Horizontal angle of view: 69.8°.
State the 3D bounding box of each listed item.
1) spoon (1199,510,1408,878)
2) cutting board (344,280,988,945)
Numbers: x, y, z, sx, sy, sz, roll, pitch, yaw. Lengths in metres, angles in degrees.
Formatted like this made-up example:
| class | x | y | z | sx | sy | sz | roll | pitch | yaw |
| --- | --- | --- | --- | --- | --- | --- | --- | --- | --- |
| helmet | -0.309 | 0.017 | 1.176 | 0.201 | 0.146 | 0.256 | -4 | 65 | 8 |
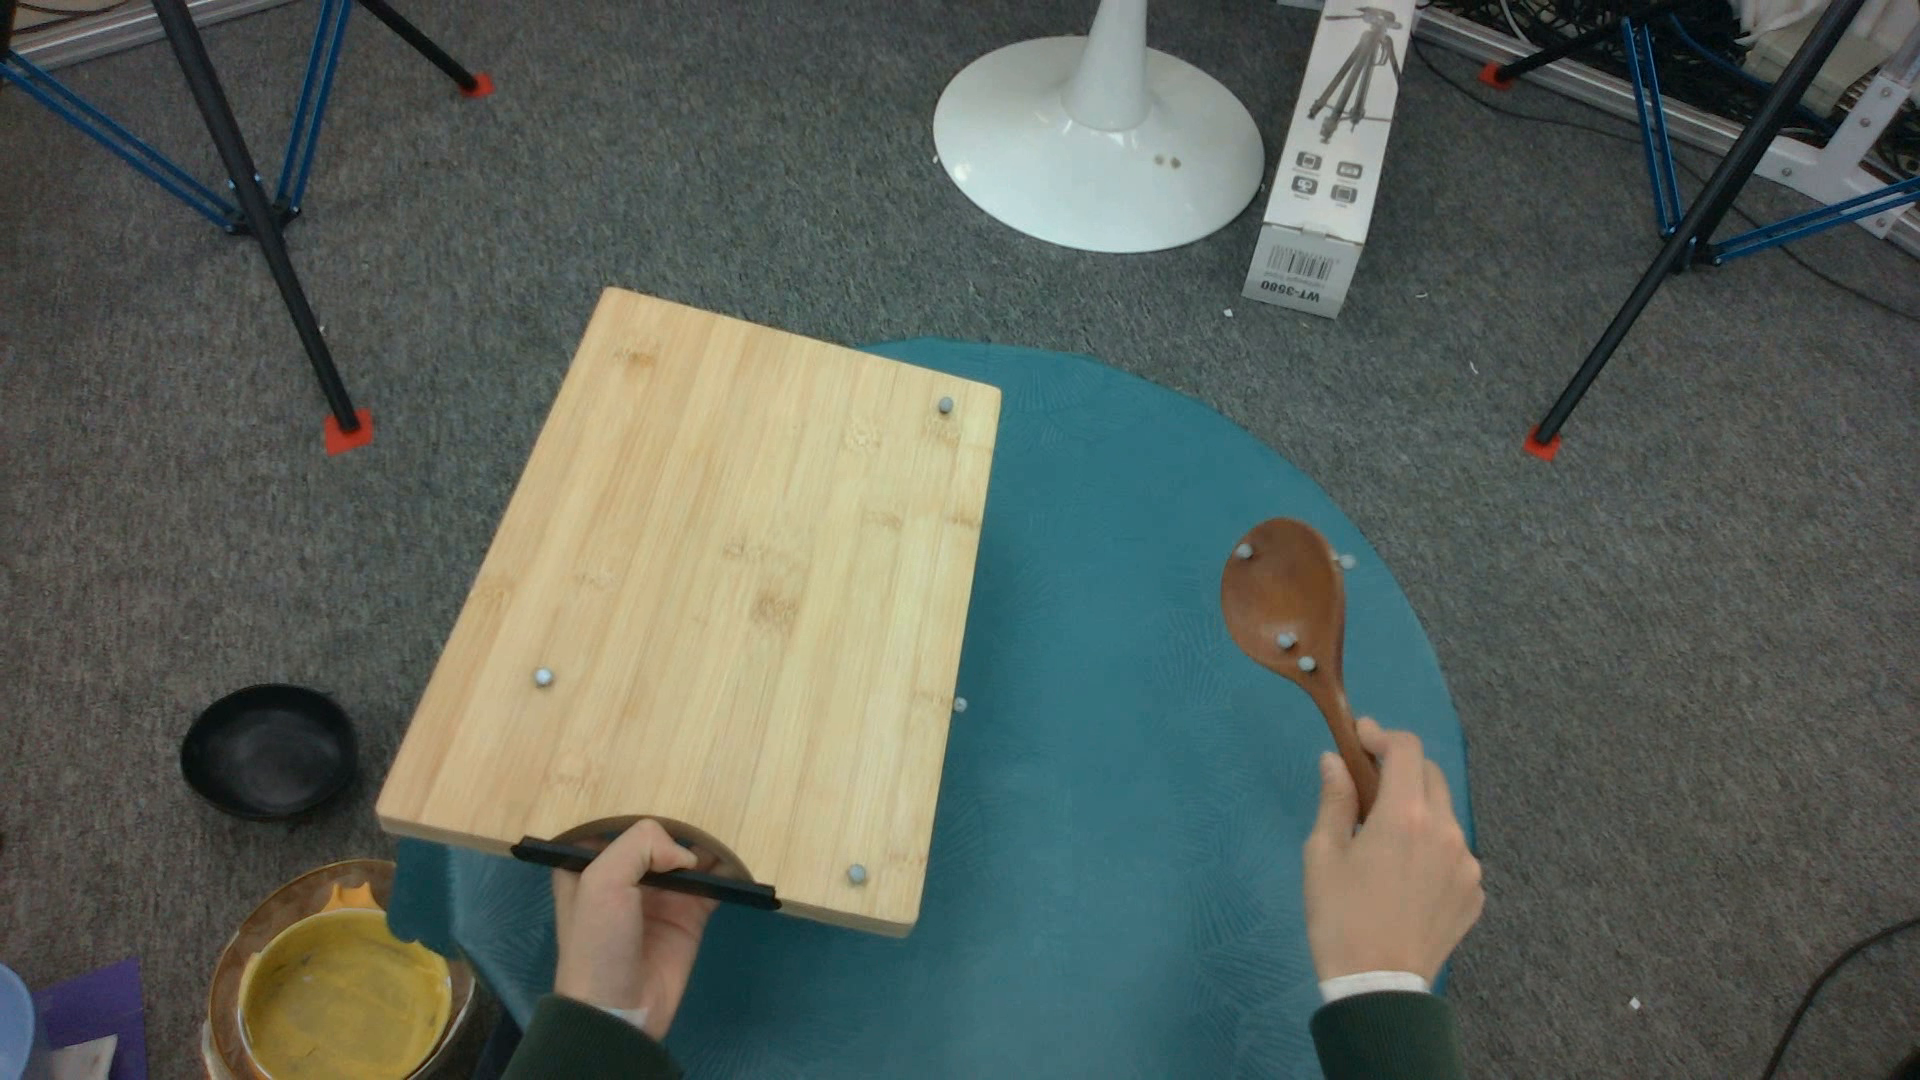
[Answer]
| class | x | y | z | sx | sy | sz | roll | pitch | yaw |
| --- | --- | --- | --- | --- | --- | --- | --- | --- | --- |
| spoon | 0.175 | 0.072 | 0.695 | 0.017 | 0.075 | 0.216 | 28 | 34 | -37 |
| cutting board | -0.124 | 0.017 | 0.709 | 0.251 | 0.023 | 0.350 | 13 | 52 | -6 |
